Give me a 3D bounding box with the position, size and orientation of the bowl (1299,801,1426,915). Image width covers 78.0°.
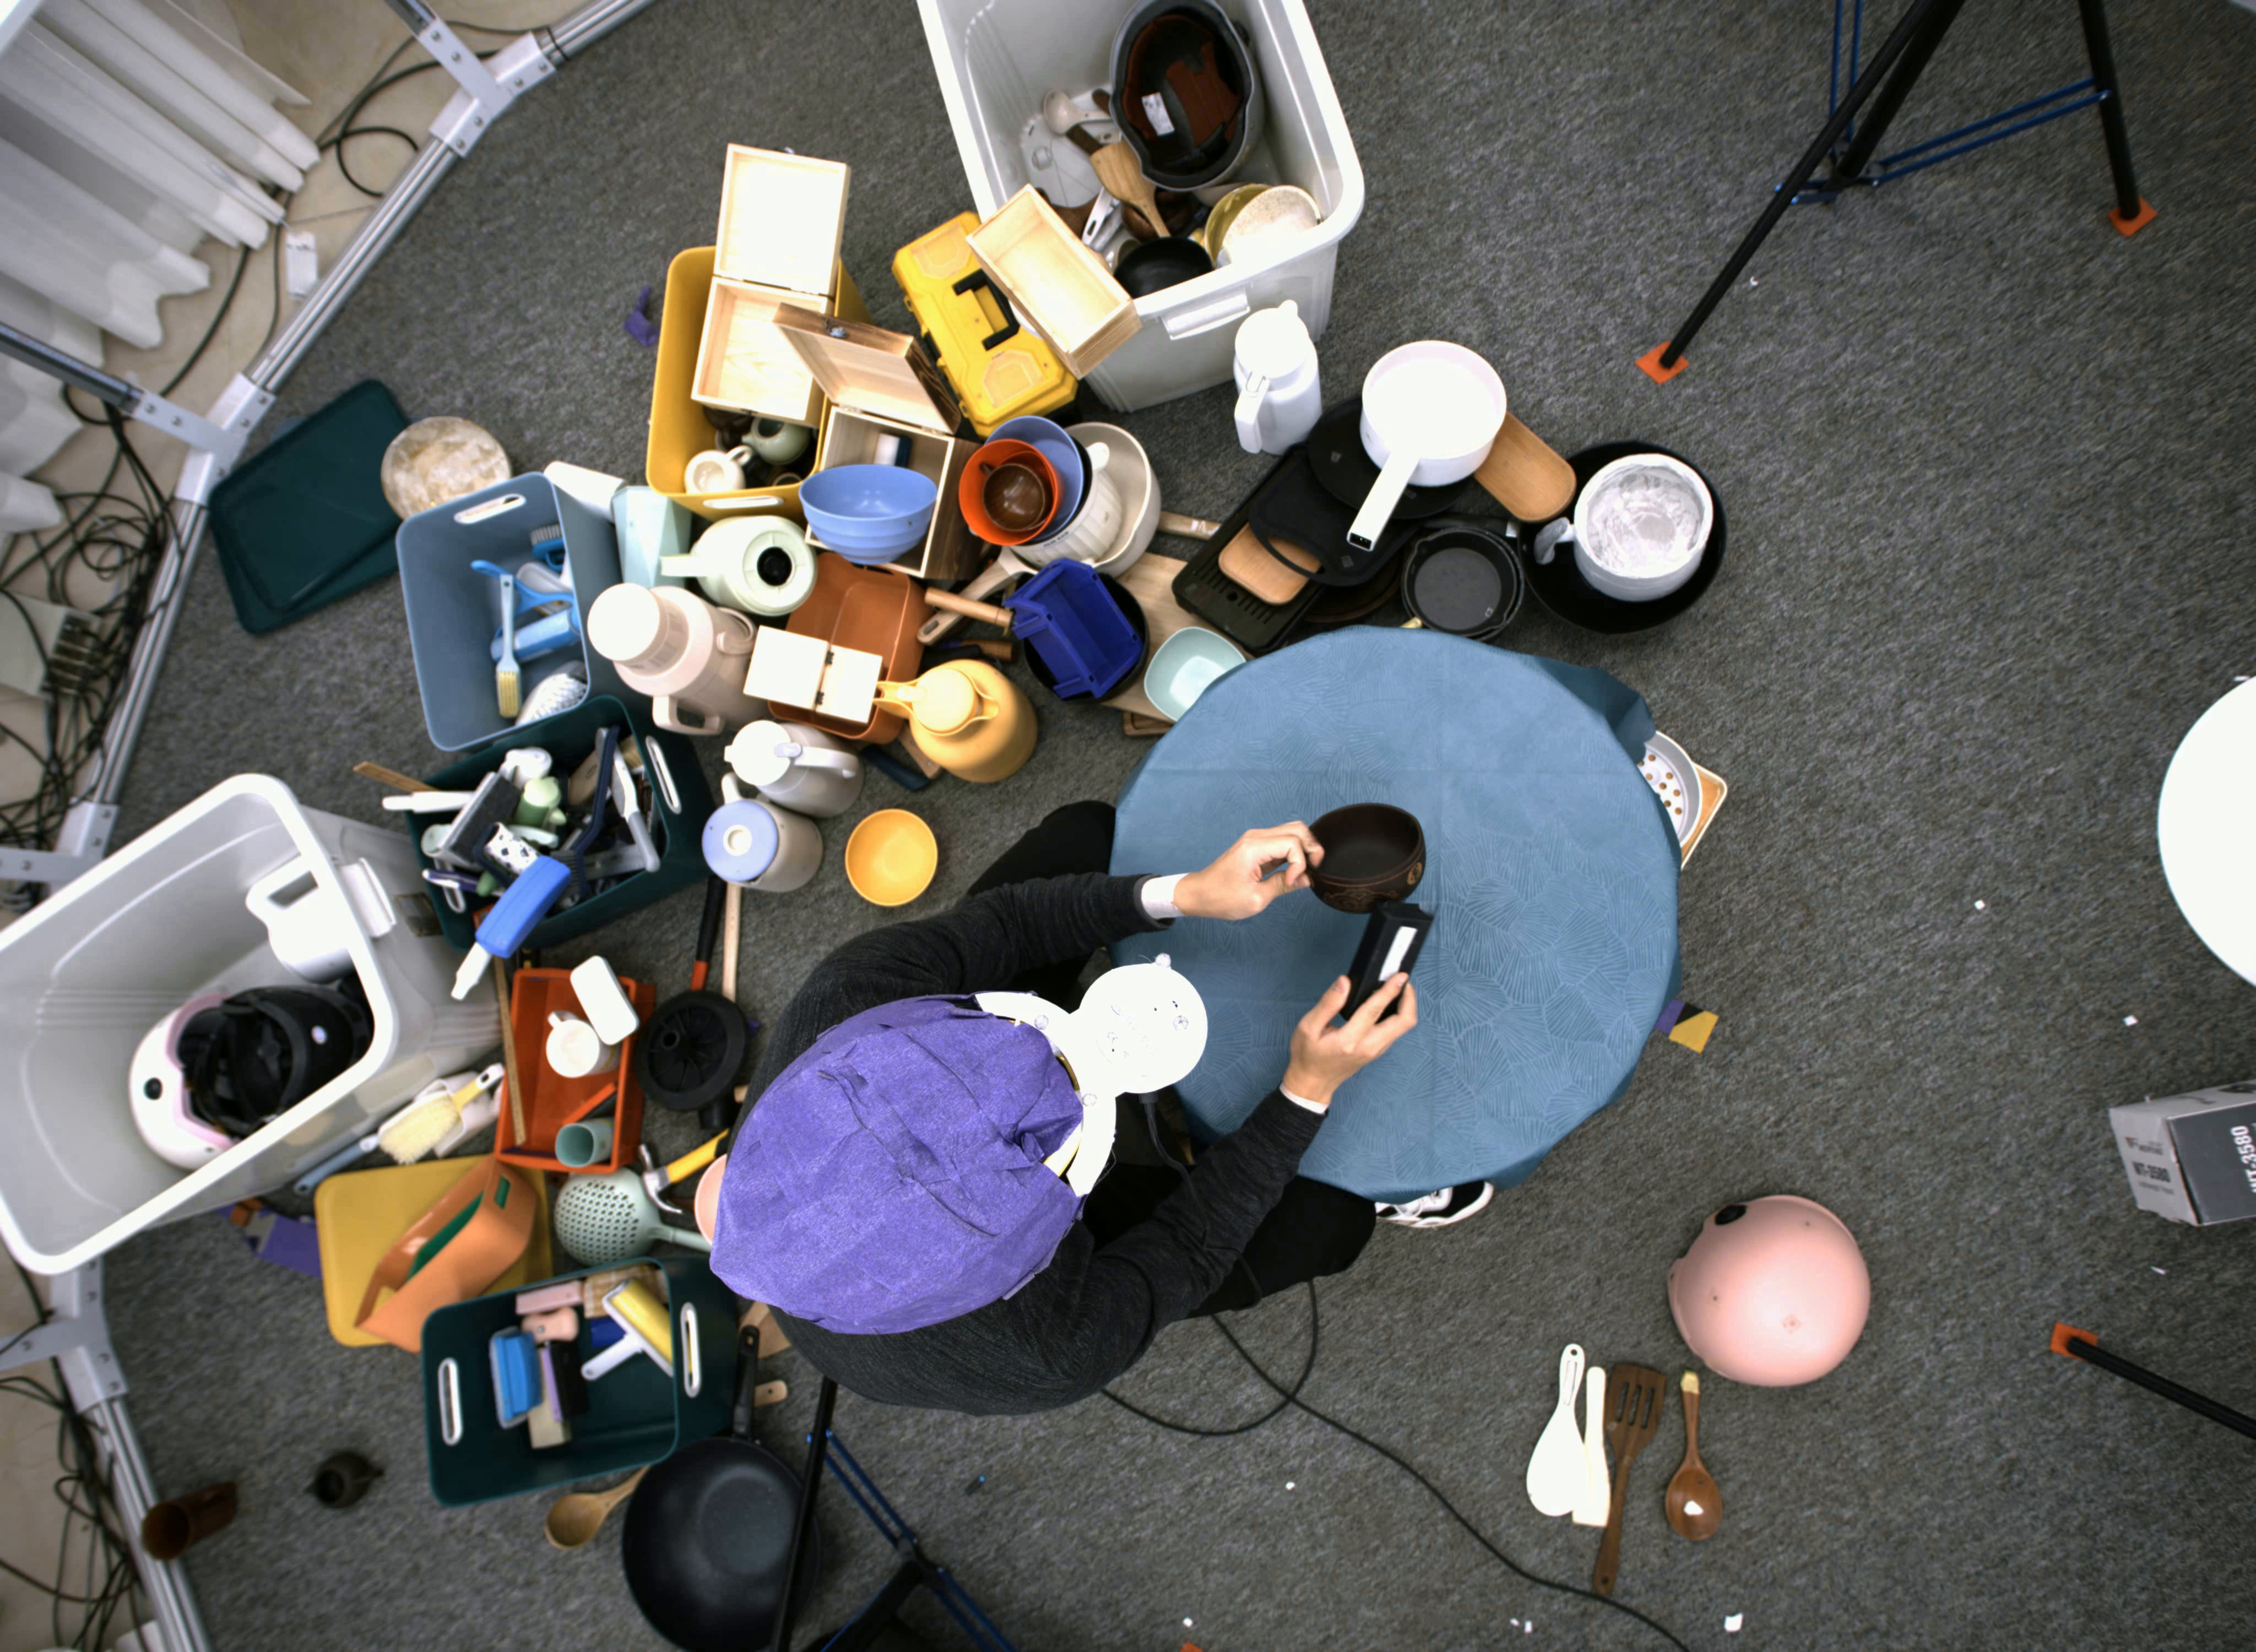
[{"bbox_3d":[0.225,0.038,1.316,0.118,0.071,0.115,-9,41,8],"label":"bowl"}]

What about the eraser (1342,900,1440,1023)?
[{"bbox_3d":[0.245,0.127,1.298,0.053,0.030,0.128,6,122,-15],"label":"eraser"}]
